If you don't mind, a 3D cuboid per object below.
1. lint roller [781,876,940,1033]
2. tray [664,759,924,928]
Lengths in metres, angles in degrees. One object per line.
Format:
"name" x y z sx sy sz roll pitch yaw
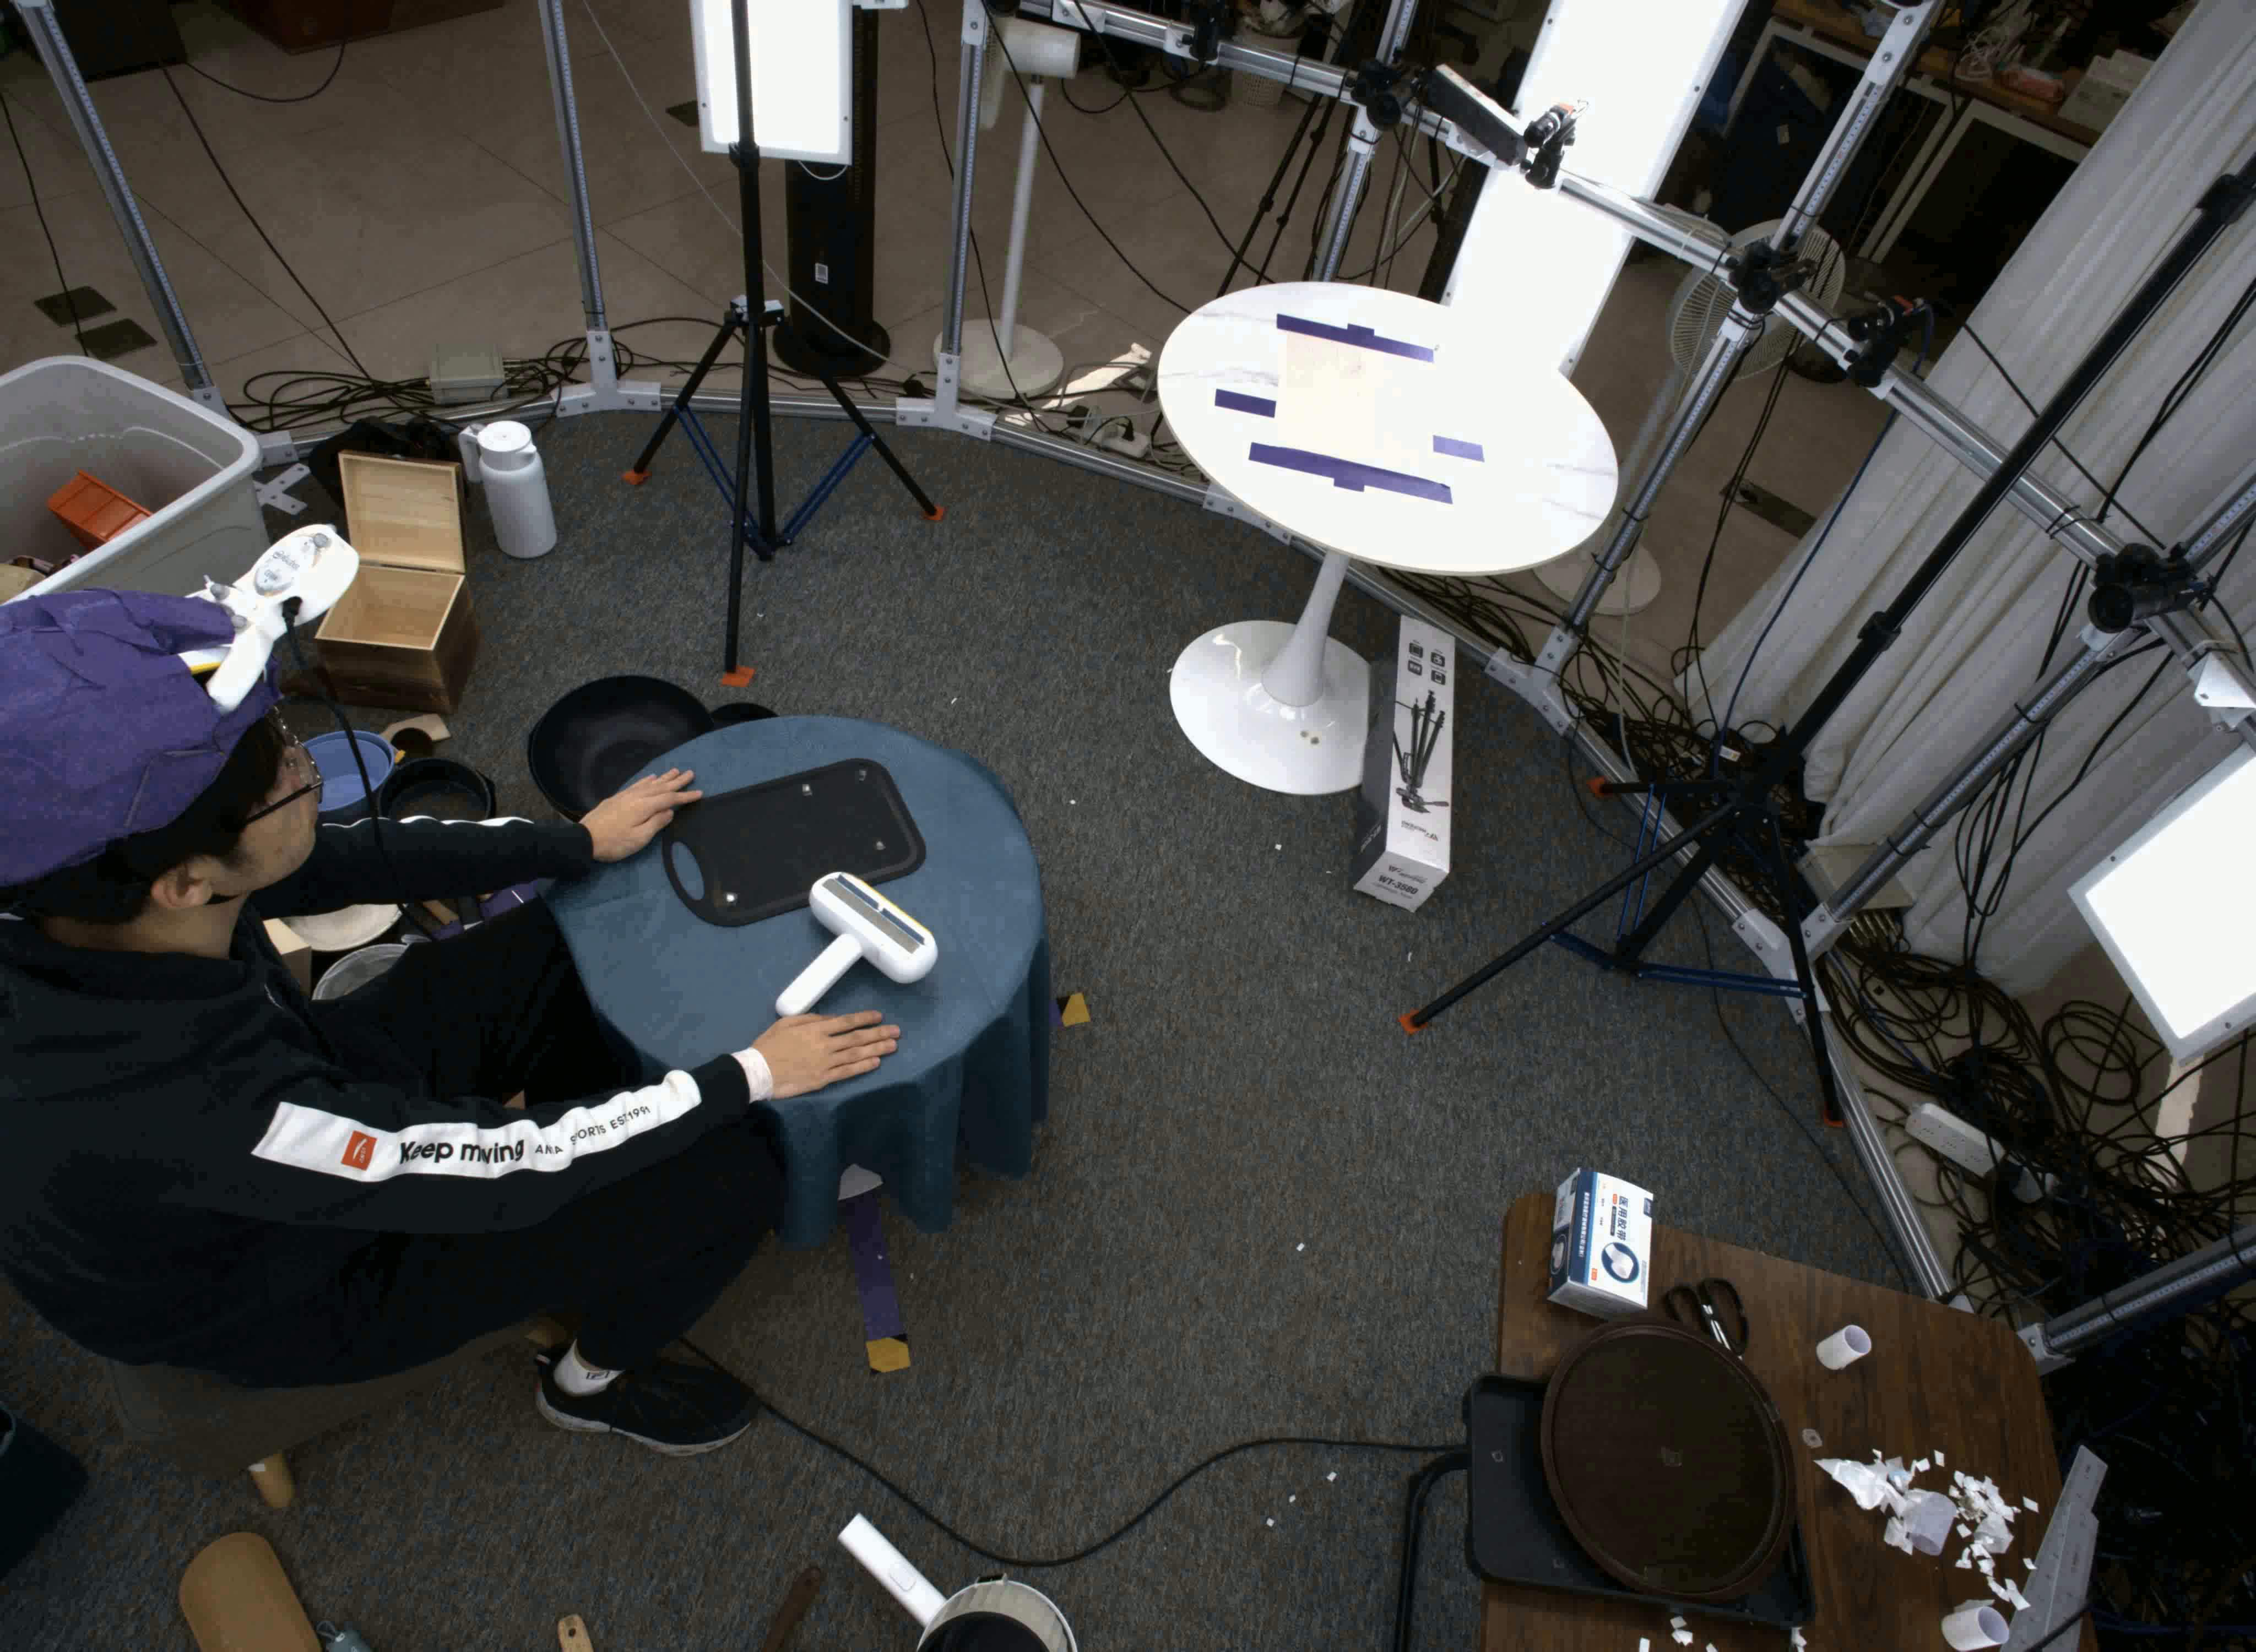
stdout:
"lint roller" -0.352 0.171 1.603 0.192 0.076 0.187 -42 65 -19
"tray" -0.443 0.018 1.708 0.327 0.010 0.206 -17 60 -25
